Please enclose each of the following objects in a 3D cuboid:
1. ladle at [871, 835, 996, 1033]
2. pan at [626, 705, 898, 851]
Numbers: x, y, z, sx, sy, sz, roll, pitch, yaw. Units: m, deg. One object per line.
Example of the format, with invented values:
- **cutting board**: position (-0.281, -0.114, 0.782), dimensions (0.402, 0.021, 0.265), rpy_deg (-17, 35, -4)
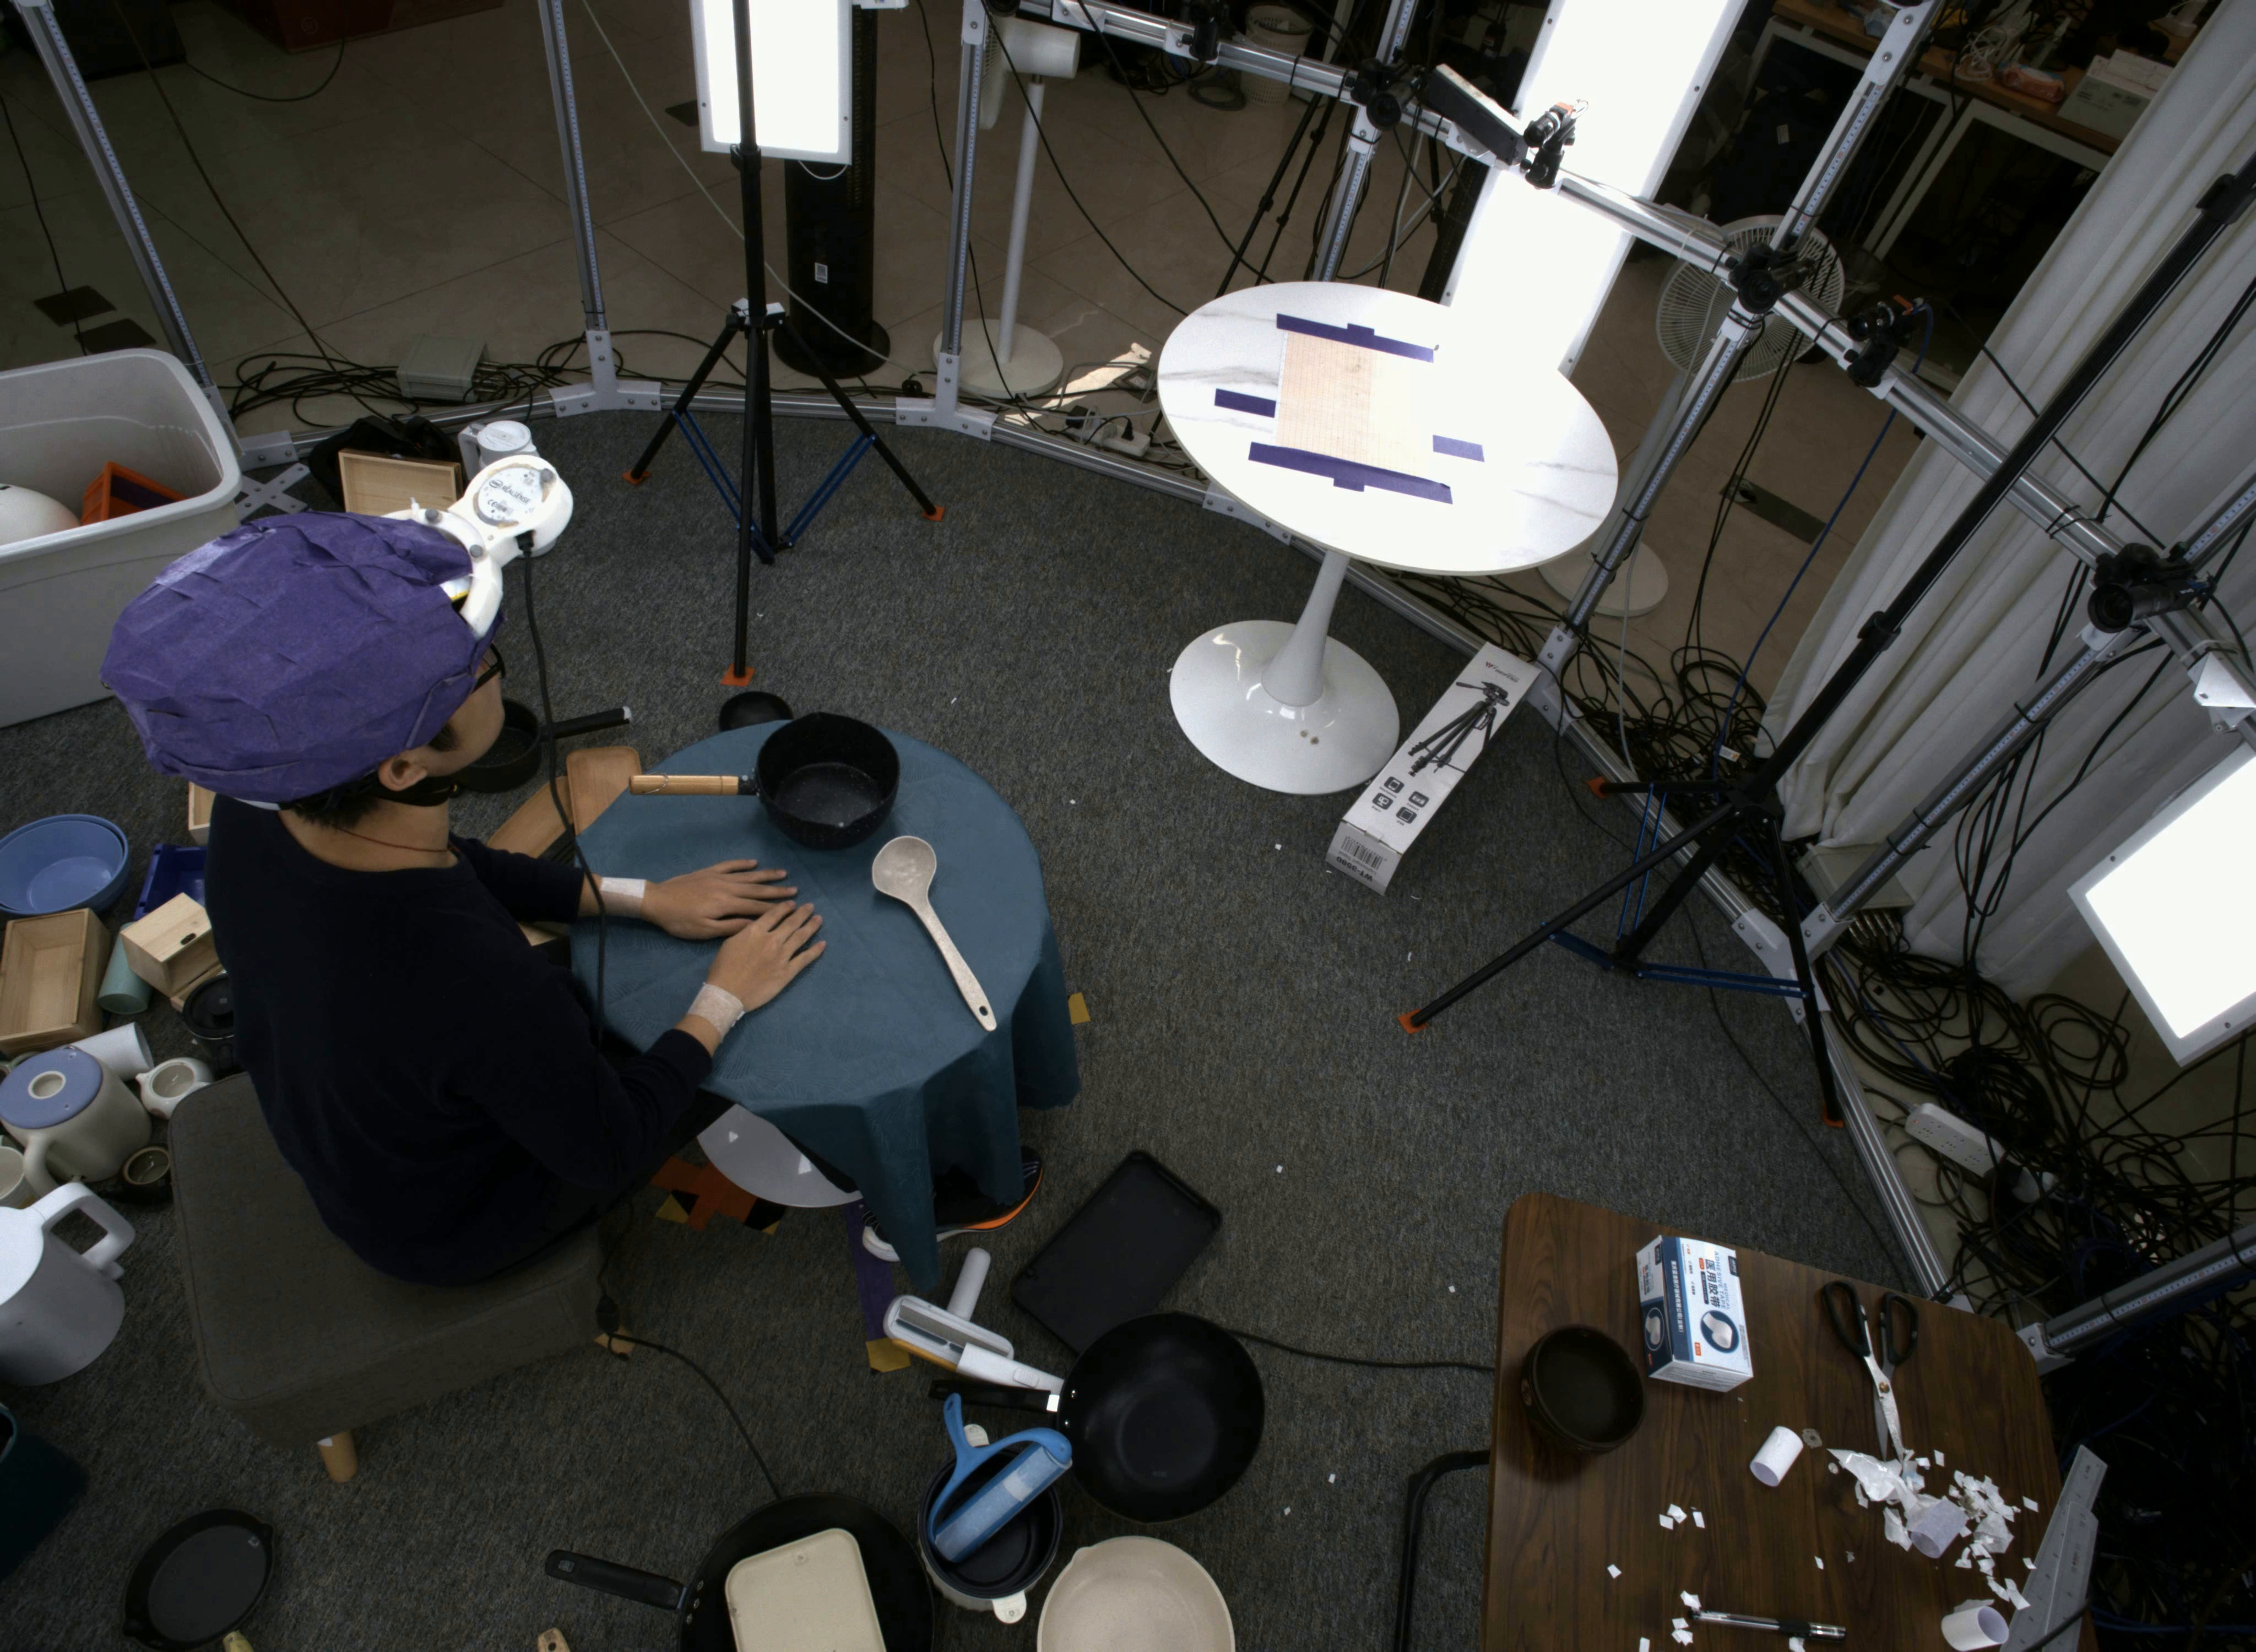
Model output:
- **ladle**: position (-0.232, 0.130, 1.625), dimensions (0.090, 0.070, 0.268), rpy_deg (-19, 61, -33)
- **pan**: position (-0.468, -0.048, 1.668), dimensions (0.345, 0.110, 0.202), rpy_deg (-9, 57, -22)
